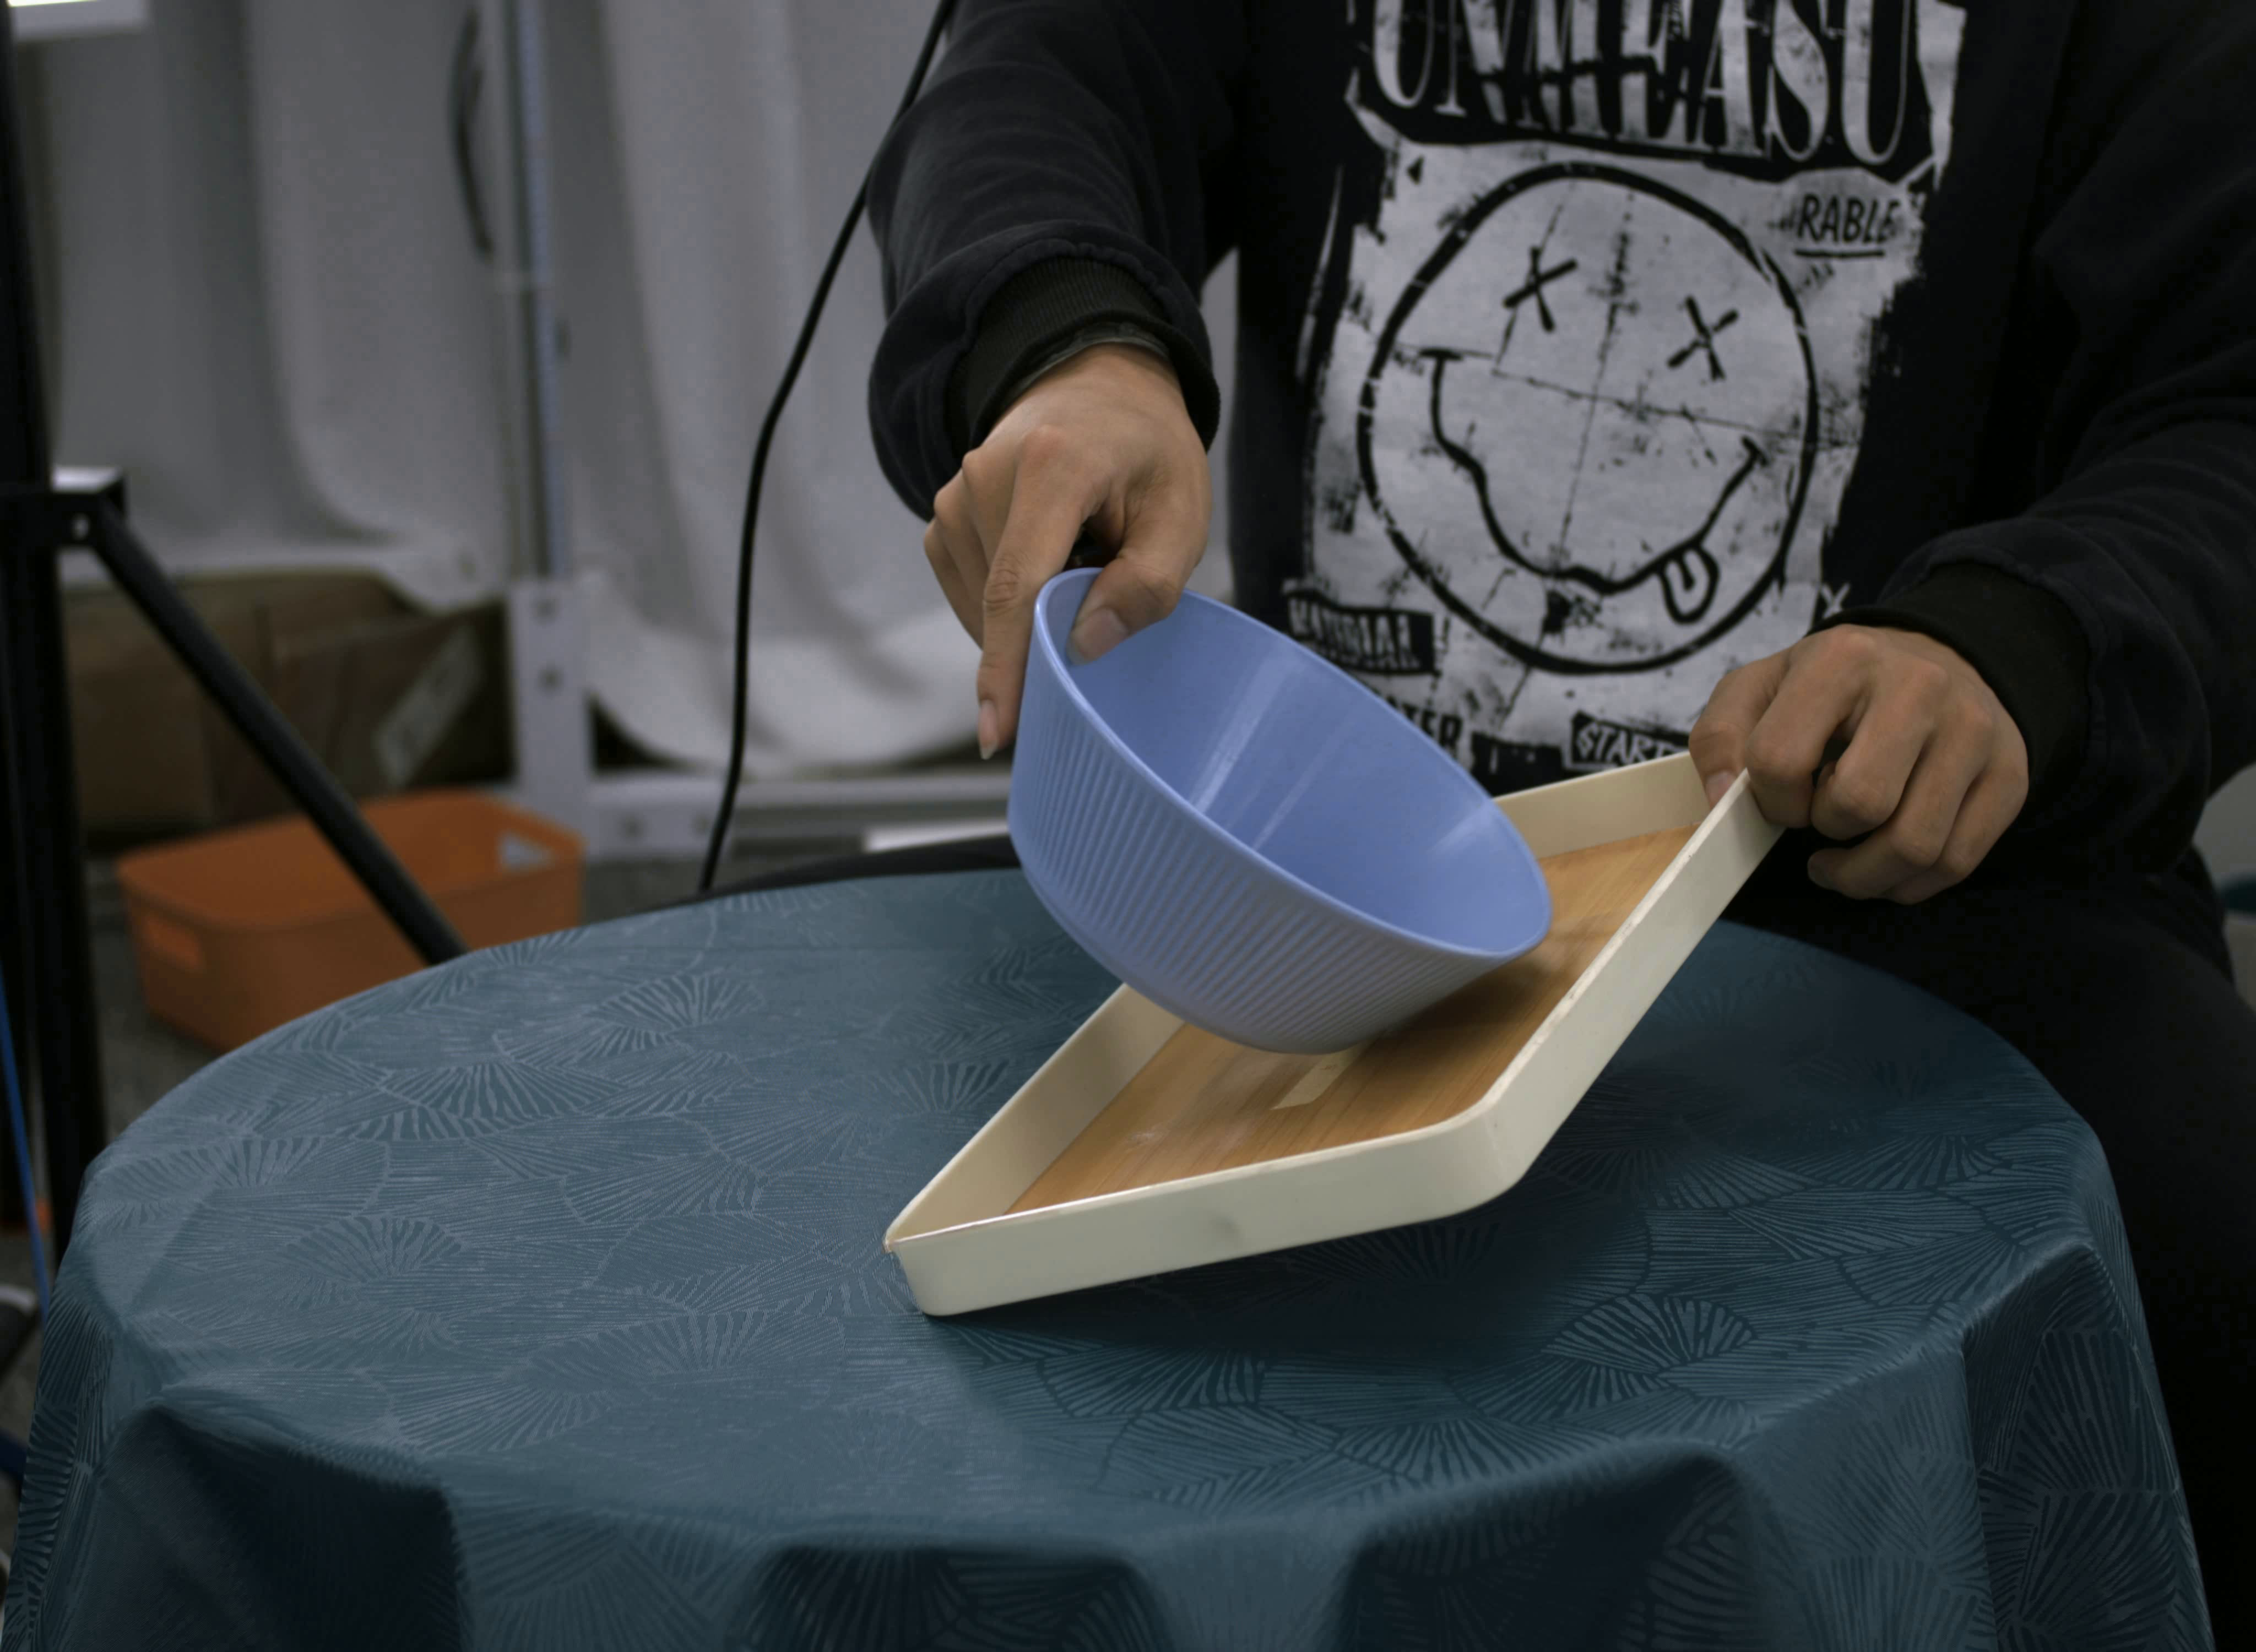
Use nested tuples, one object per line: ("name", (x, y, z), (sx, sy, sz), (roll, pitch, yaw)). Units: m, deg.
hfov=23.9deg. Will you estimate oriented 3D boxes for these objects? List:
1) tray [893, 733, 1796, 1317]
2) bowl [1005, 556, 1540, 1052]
("tray", (0.070, 0.055, 1.543), (0.194, 0.027, 0.297), (-14, 15, 29))
("bowl", (0.030, 0.003, 1.531), (0.173, 0.071, 0.177), (30, 22, -15))
